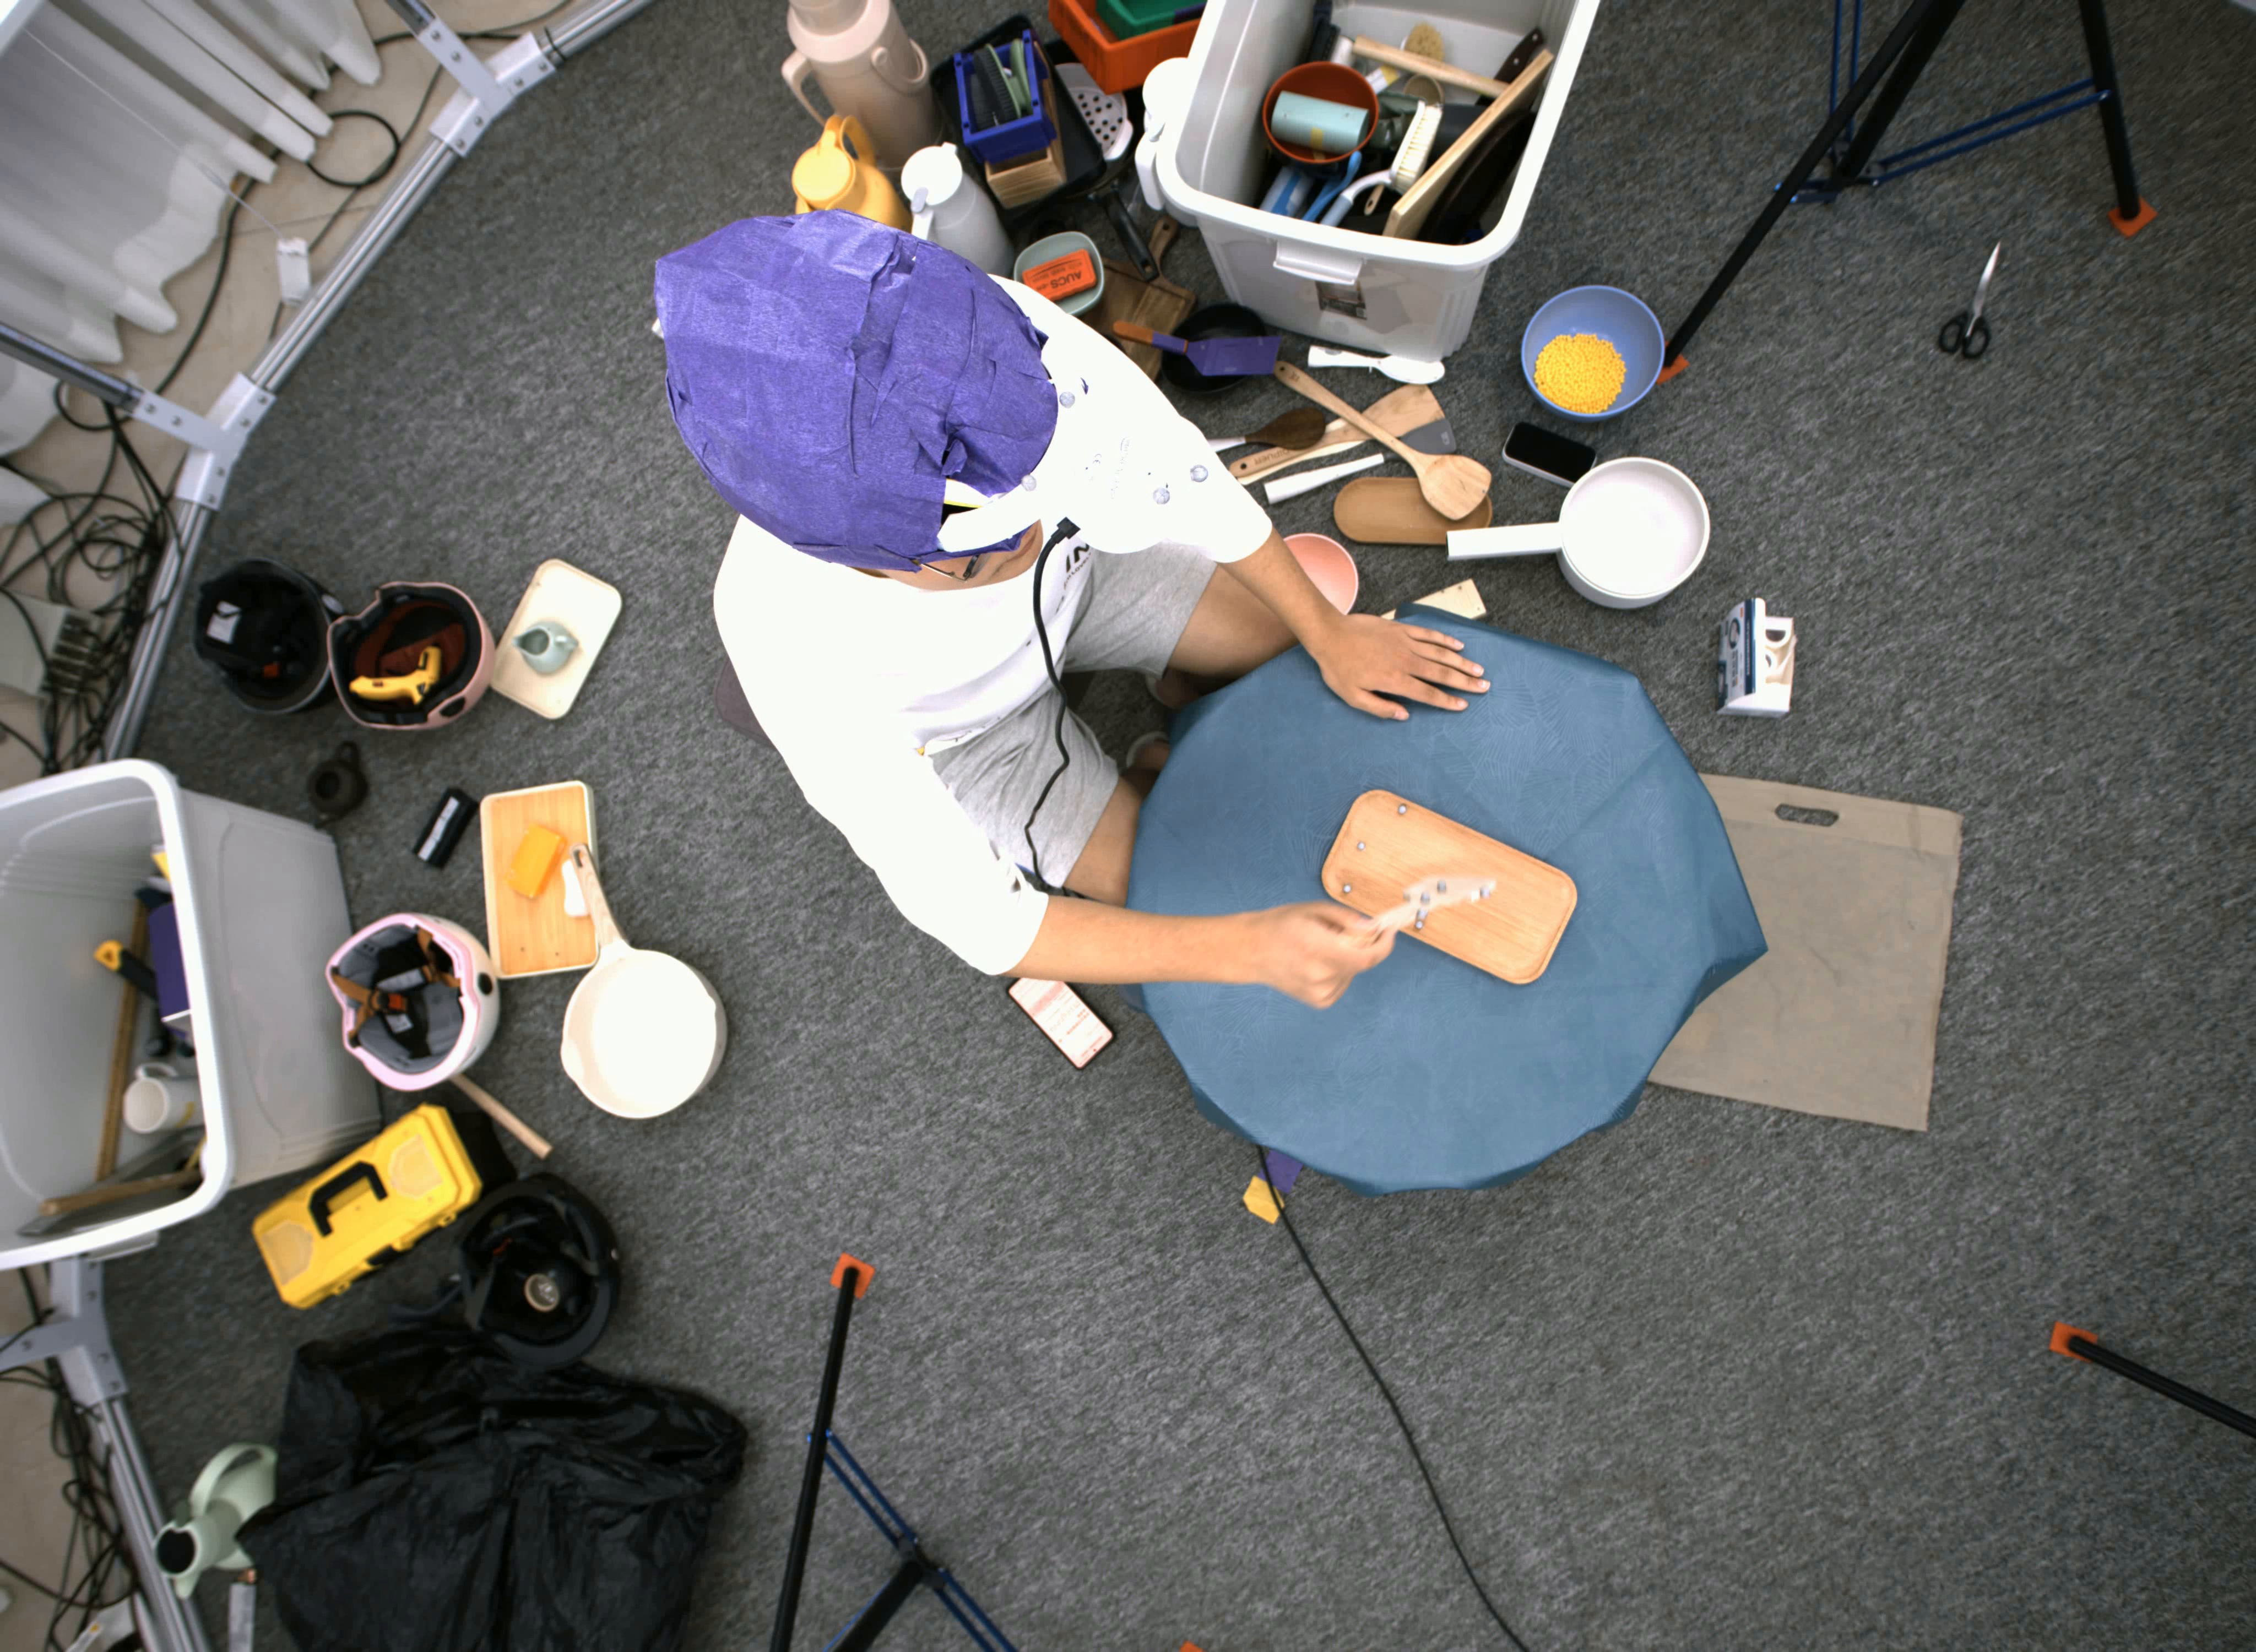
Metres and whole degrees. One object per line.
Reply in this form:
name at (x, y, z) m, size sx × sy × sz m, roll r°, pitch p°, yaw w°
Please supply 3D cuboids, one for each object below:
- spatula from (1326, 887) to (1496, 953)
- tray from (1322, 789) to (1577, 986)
spatula at (0.243, 0.078, 1.195) m, size 0.073 × 0.289 × 0.011 m, roll 1°, pitch 98°, yaw 33°
tray at (0.334, 0.061, 1.440) m, size 0.250 × 0.023 × 0.131 m, roll 27°, pitch 94°, yaw 11°
